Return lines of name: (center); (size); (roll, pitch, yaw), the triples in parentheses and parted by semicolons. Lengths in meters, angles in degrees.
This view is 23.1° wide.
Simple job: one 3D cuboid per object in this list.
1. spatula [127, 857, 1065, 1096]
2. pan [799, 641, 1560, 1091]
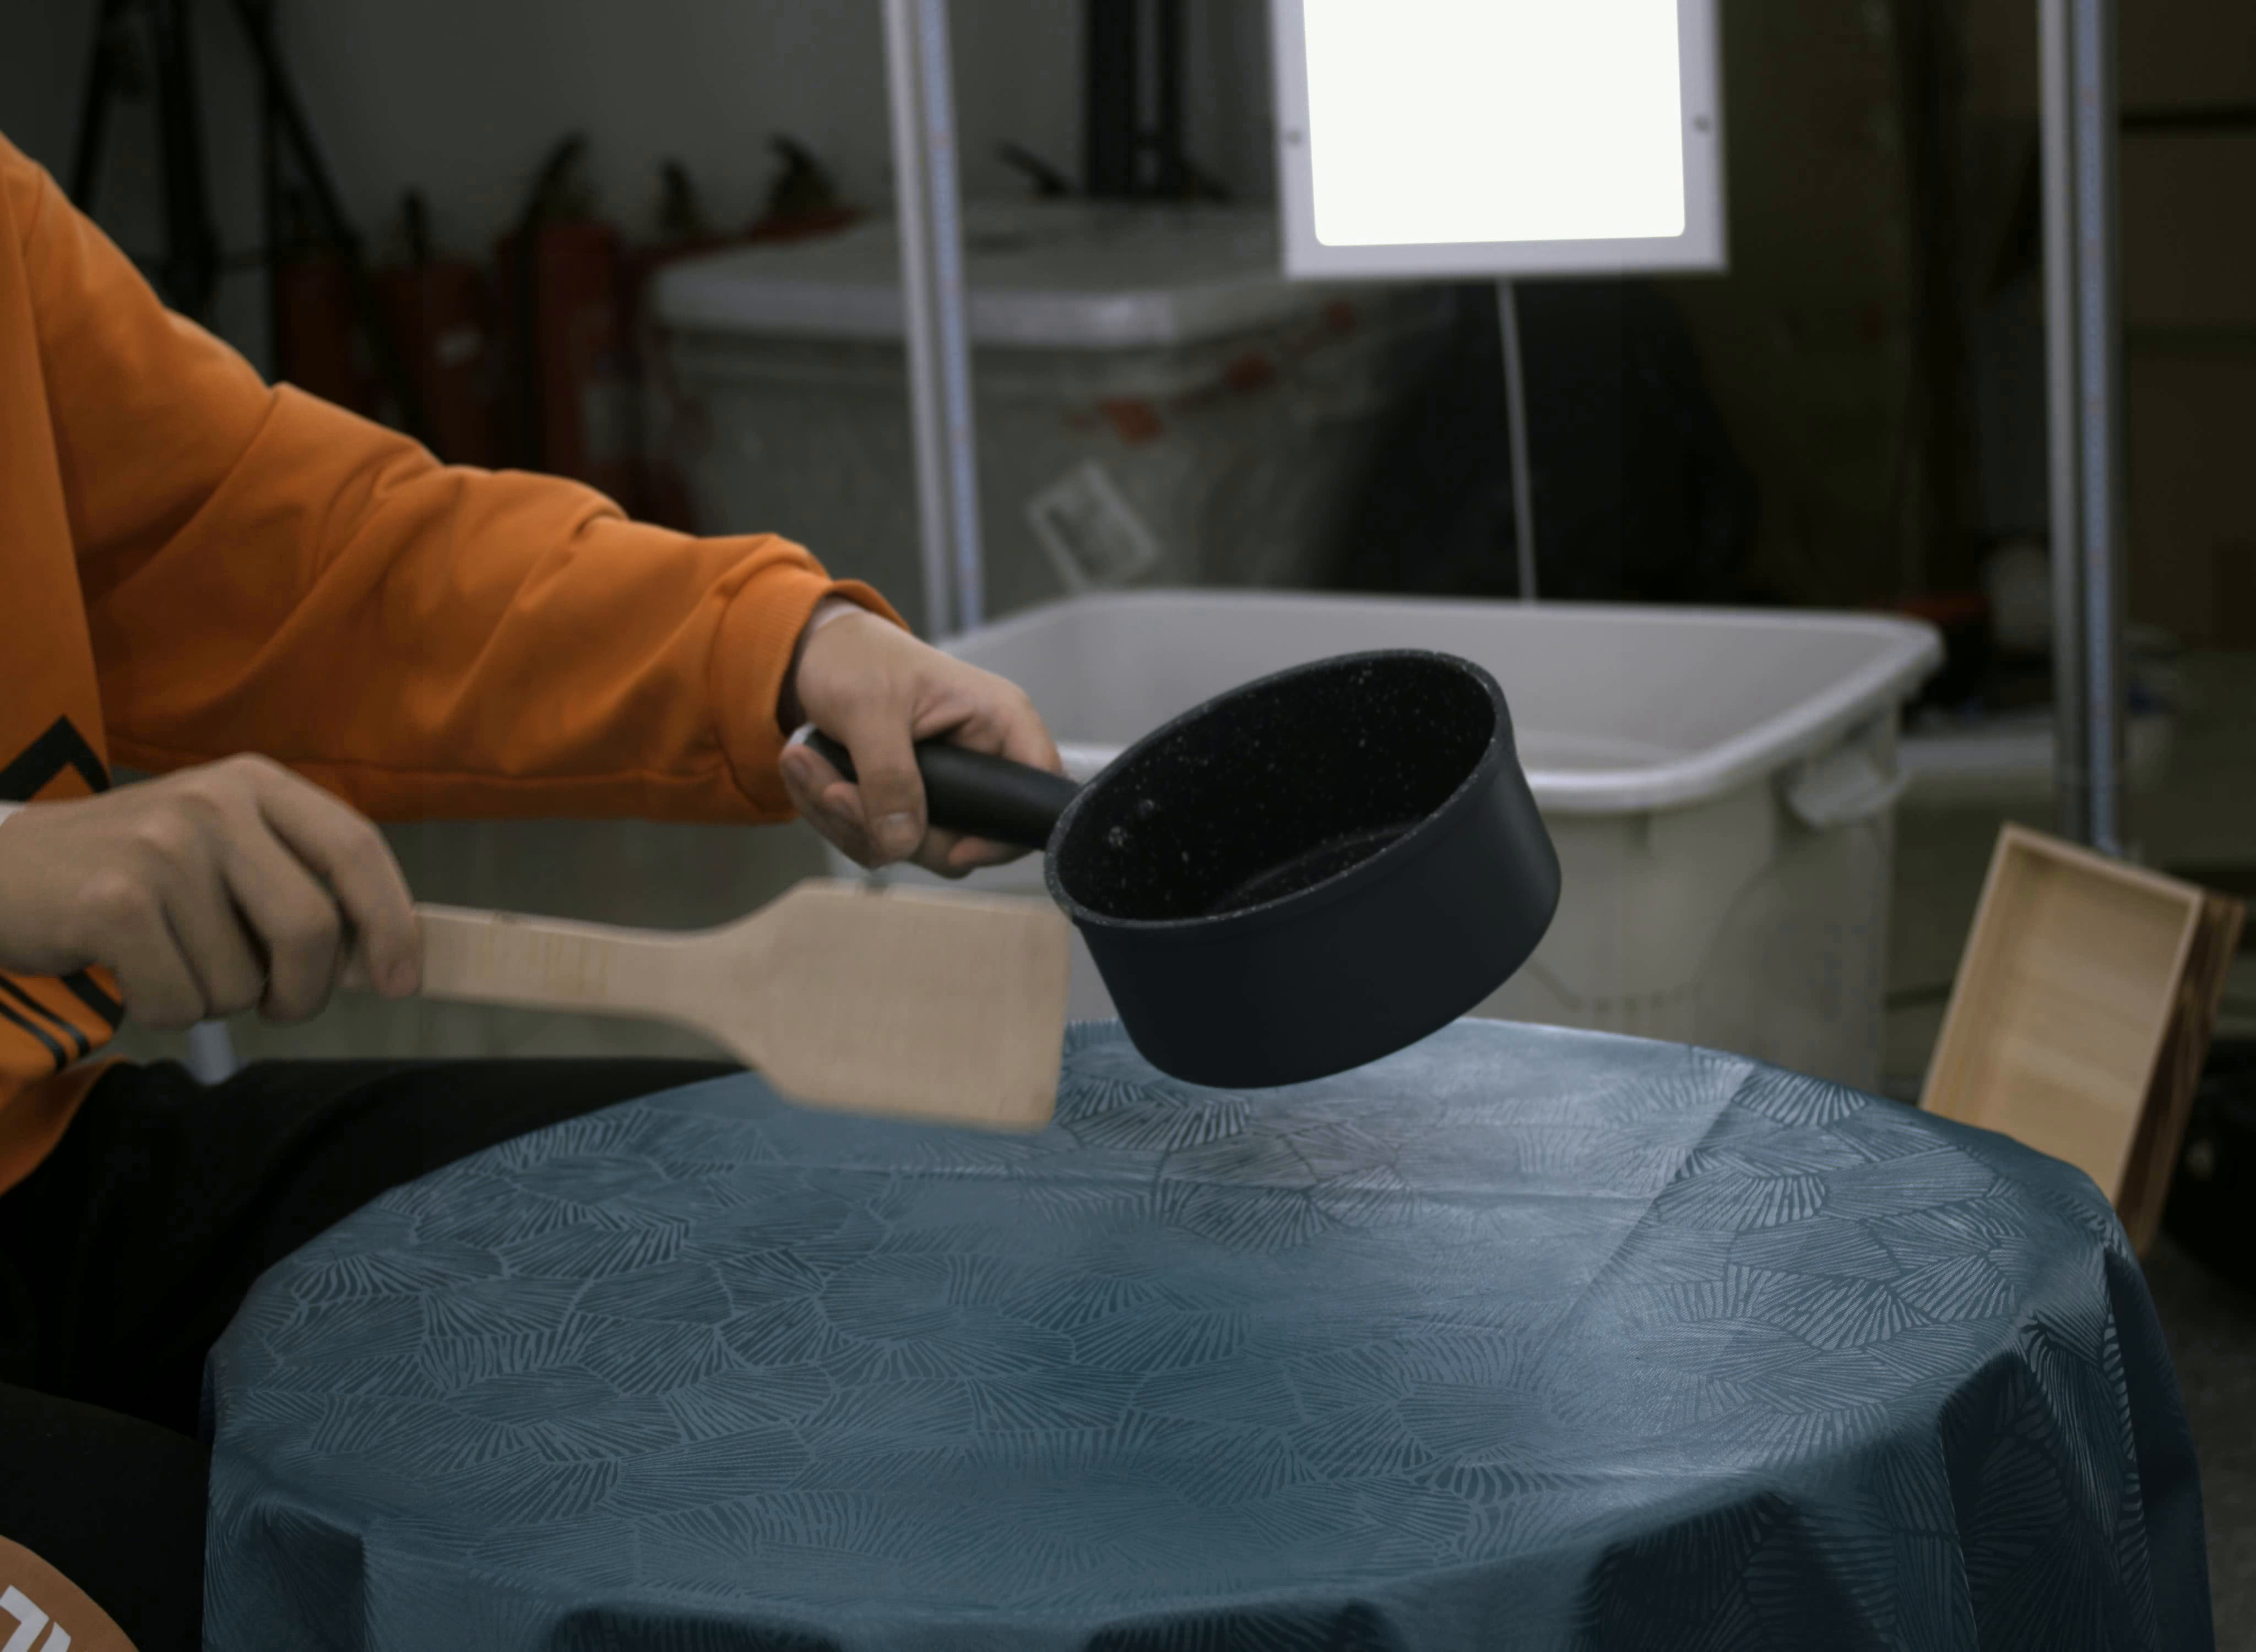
spatula: (-0.165, 0.037, 1.691); (0.294, 0.072, 0.010); (5, 13, 8)
pan: (0.008, 0.007, 1.967); (0.336, 0.086, 0.169); (8, 40, 47)
